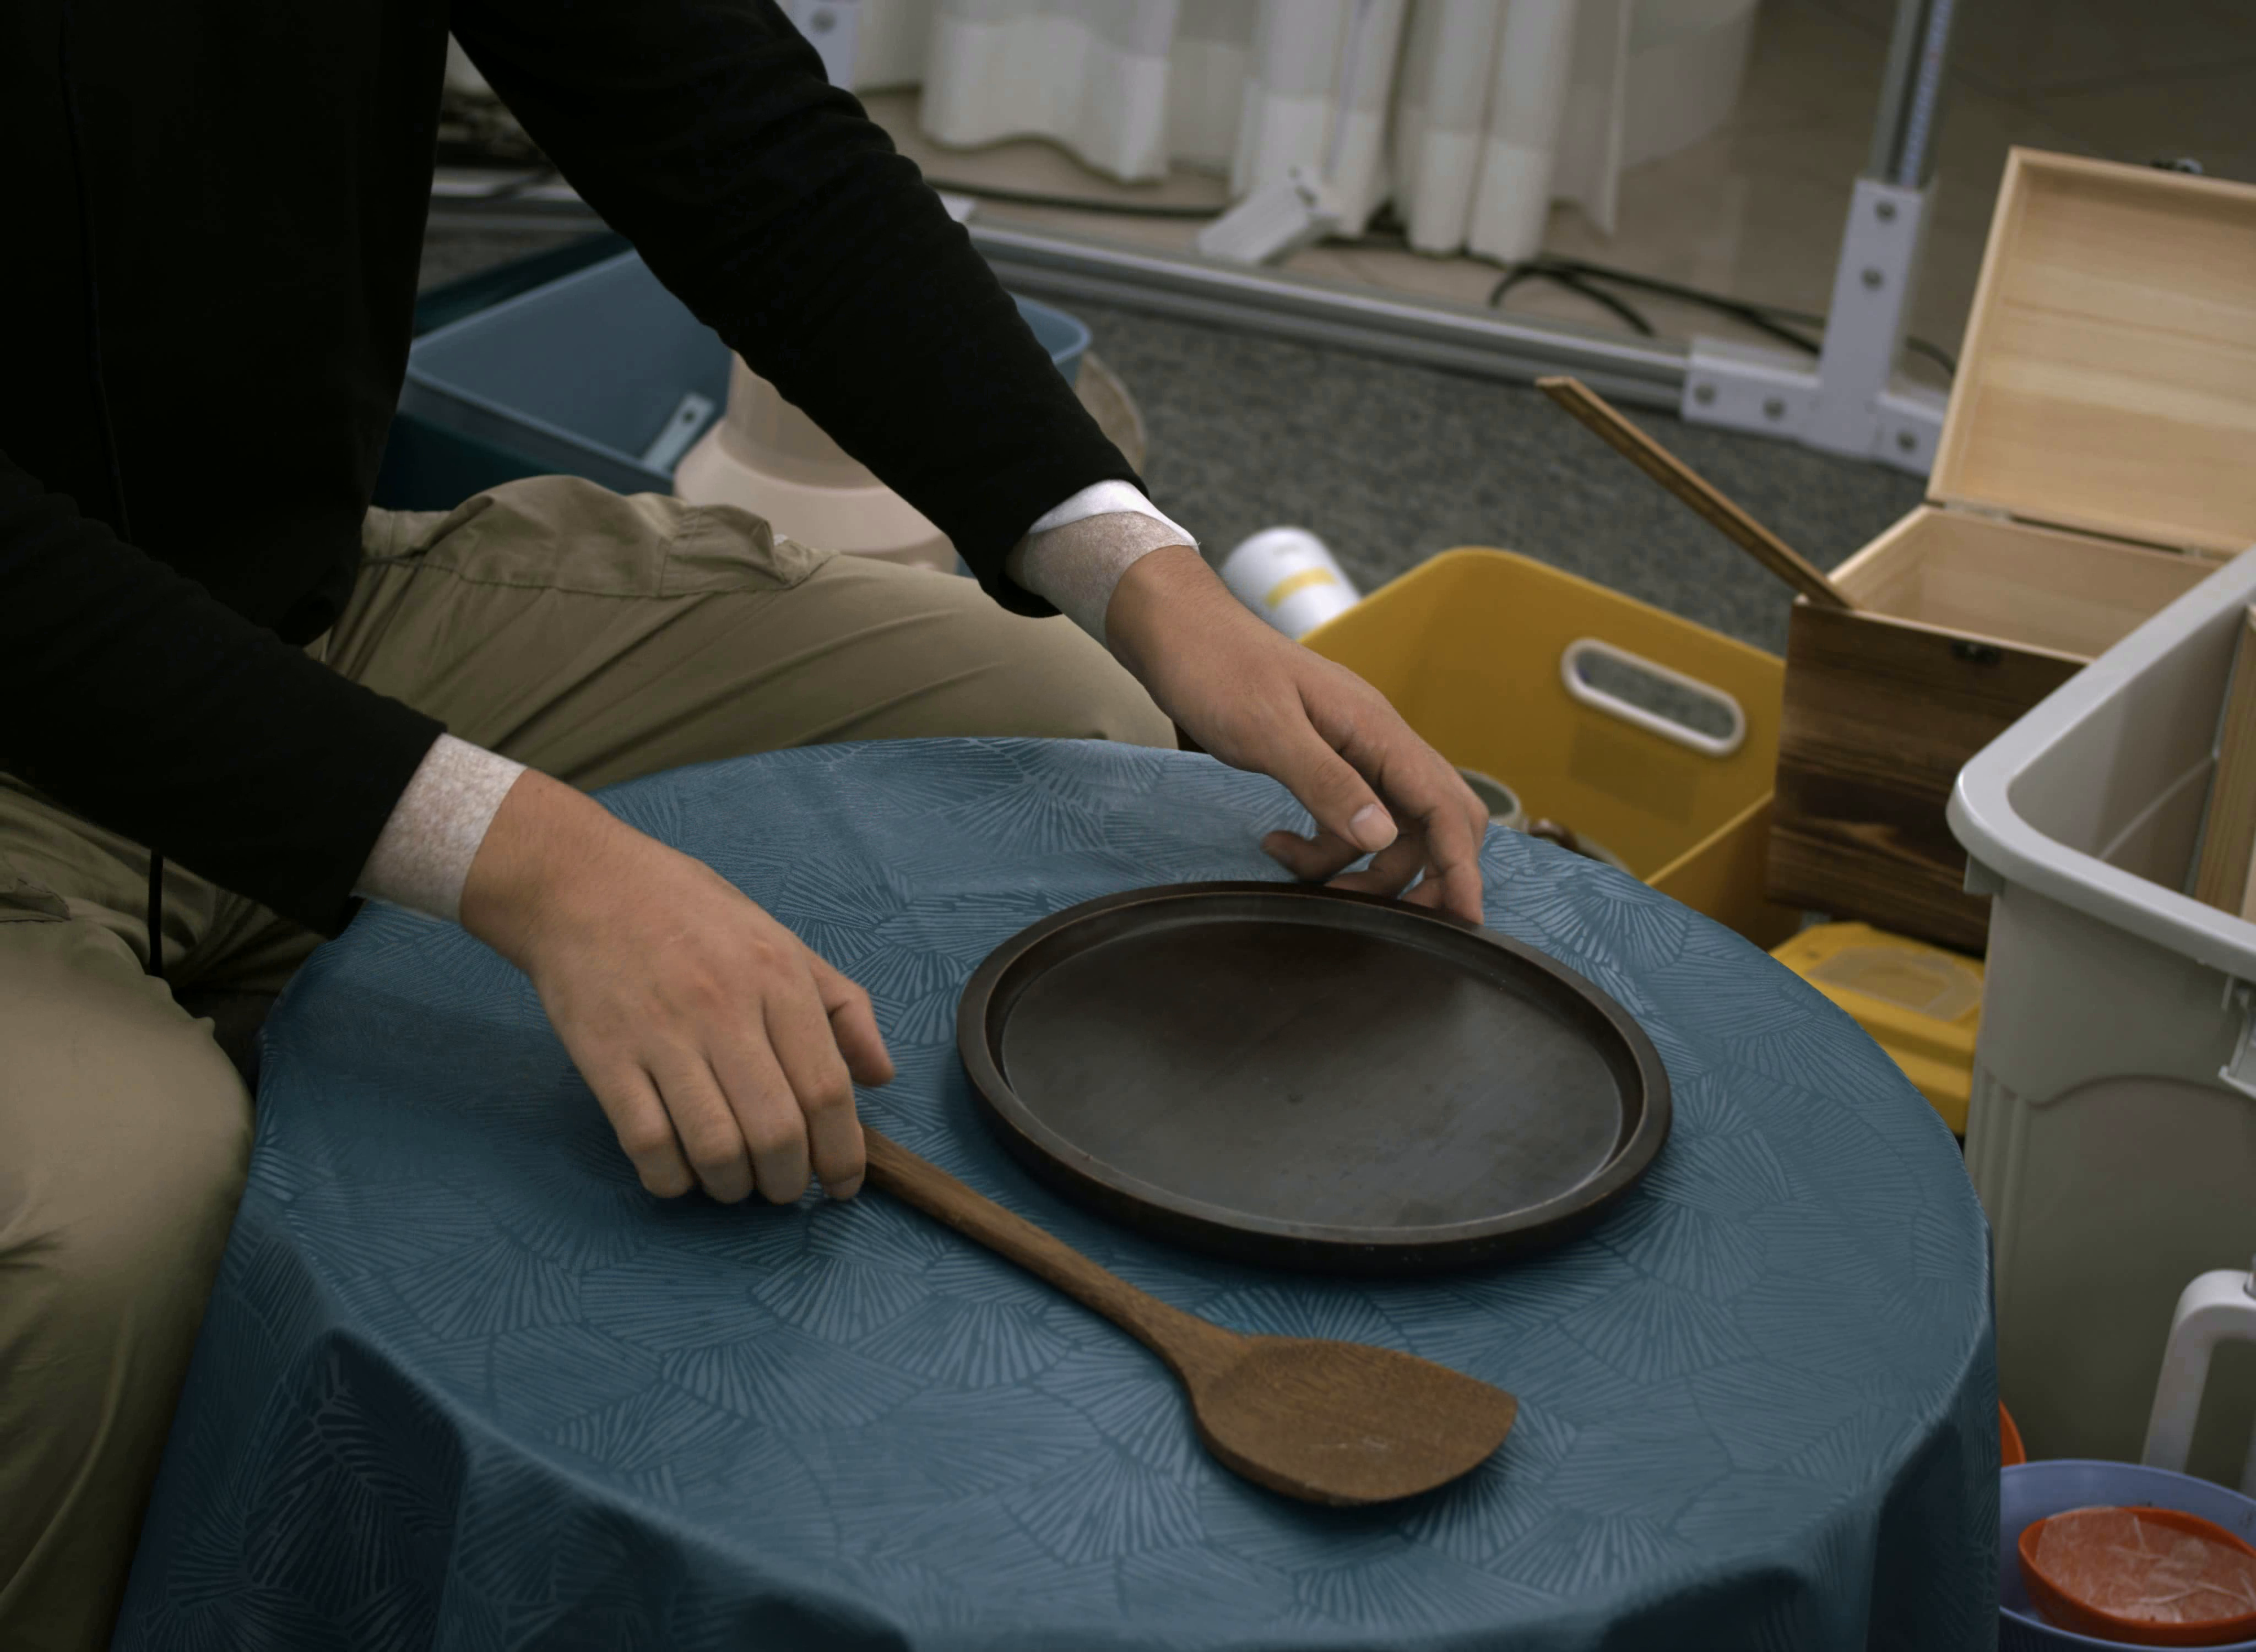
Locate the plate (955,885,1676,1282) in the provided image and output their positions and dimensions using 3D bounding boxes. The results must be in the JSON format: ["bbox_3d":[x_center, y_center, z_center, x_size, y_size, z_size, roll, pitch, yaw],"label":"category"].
[{"bbox_3d":[0.064,0.087,1.861,0.254,0.029,0.256,5,28,-3],"label":"plate"}]

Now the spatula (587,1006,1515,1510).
[{"bbox_3d":[-0.042,0.134,1.756,0.388,0.016,0.095,26,32,34],"label":"spatula"}]
